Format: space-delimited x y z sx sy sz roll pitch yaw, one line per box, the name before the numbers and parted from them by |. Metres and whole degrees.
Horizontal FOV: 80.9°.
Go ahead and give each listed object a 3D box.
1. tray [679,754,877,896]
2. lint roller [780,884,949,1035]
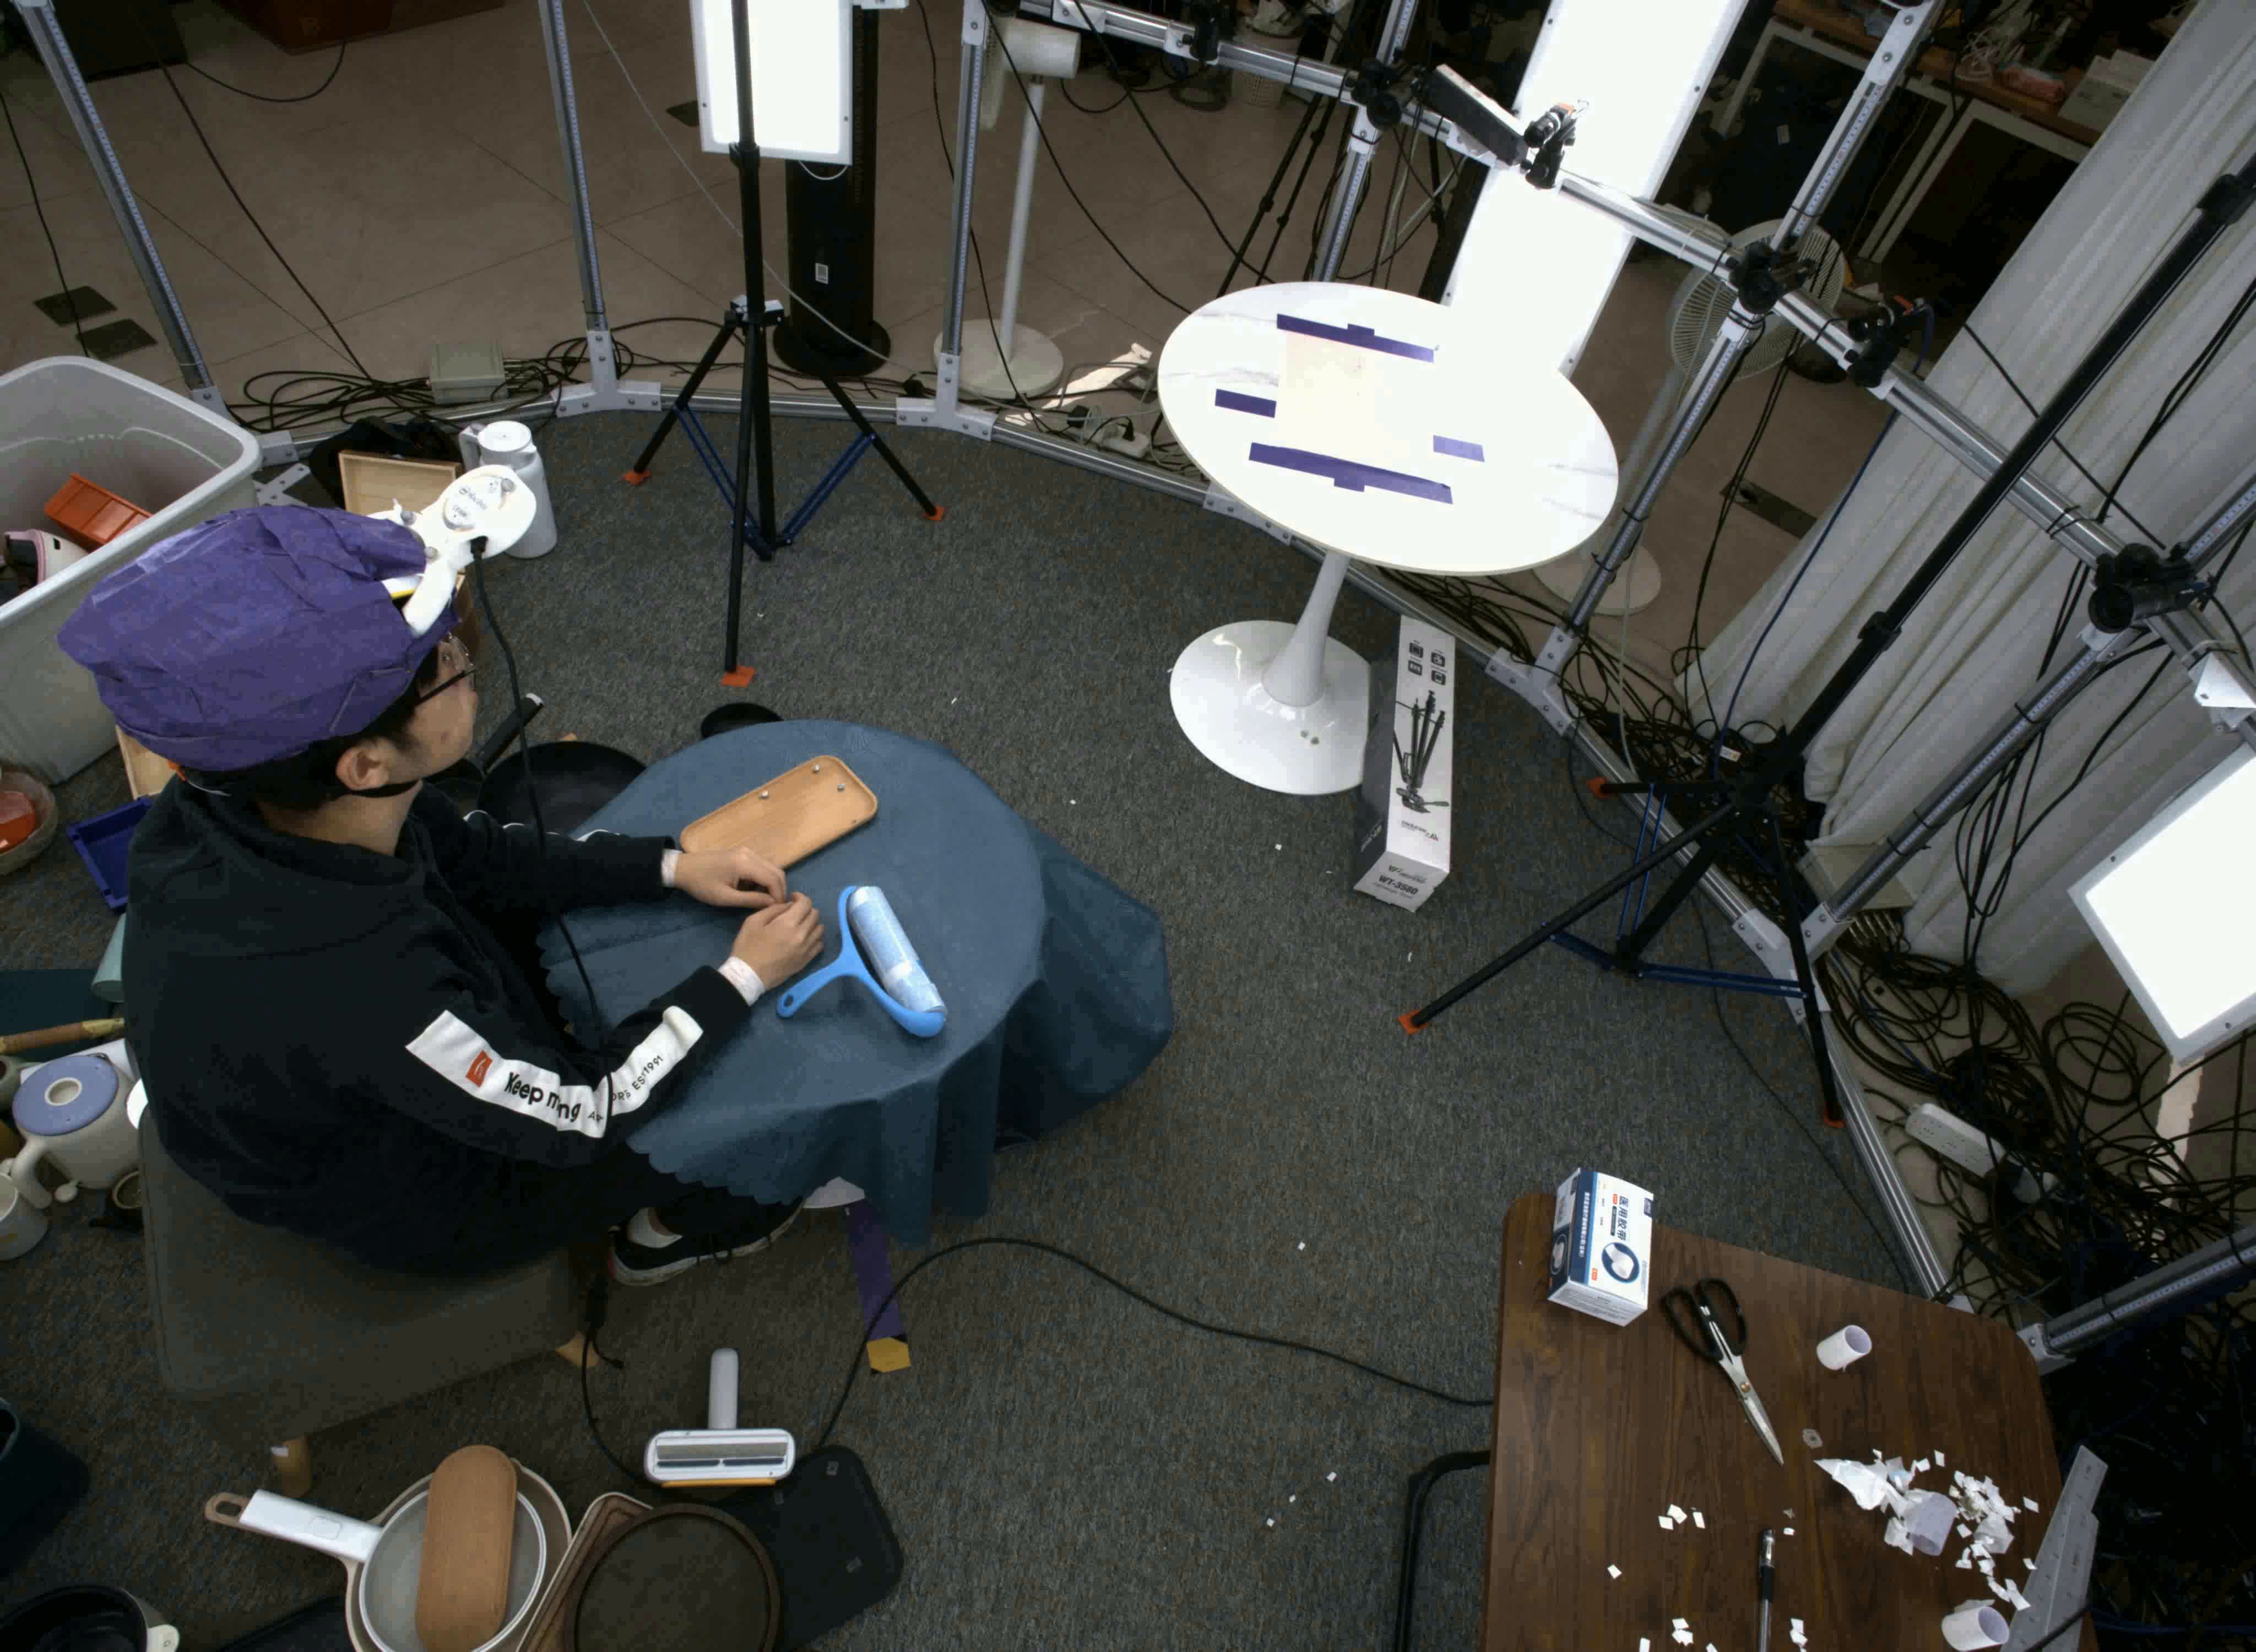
tray | -0.461 -0.005 1.713 0.251 0.023 0.127 -33 66 -31
lint roller | -0.337 0.180 1.583 0.181 0.069 0.224 -23 64 -29
